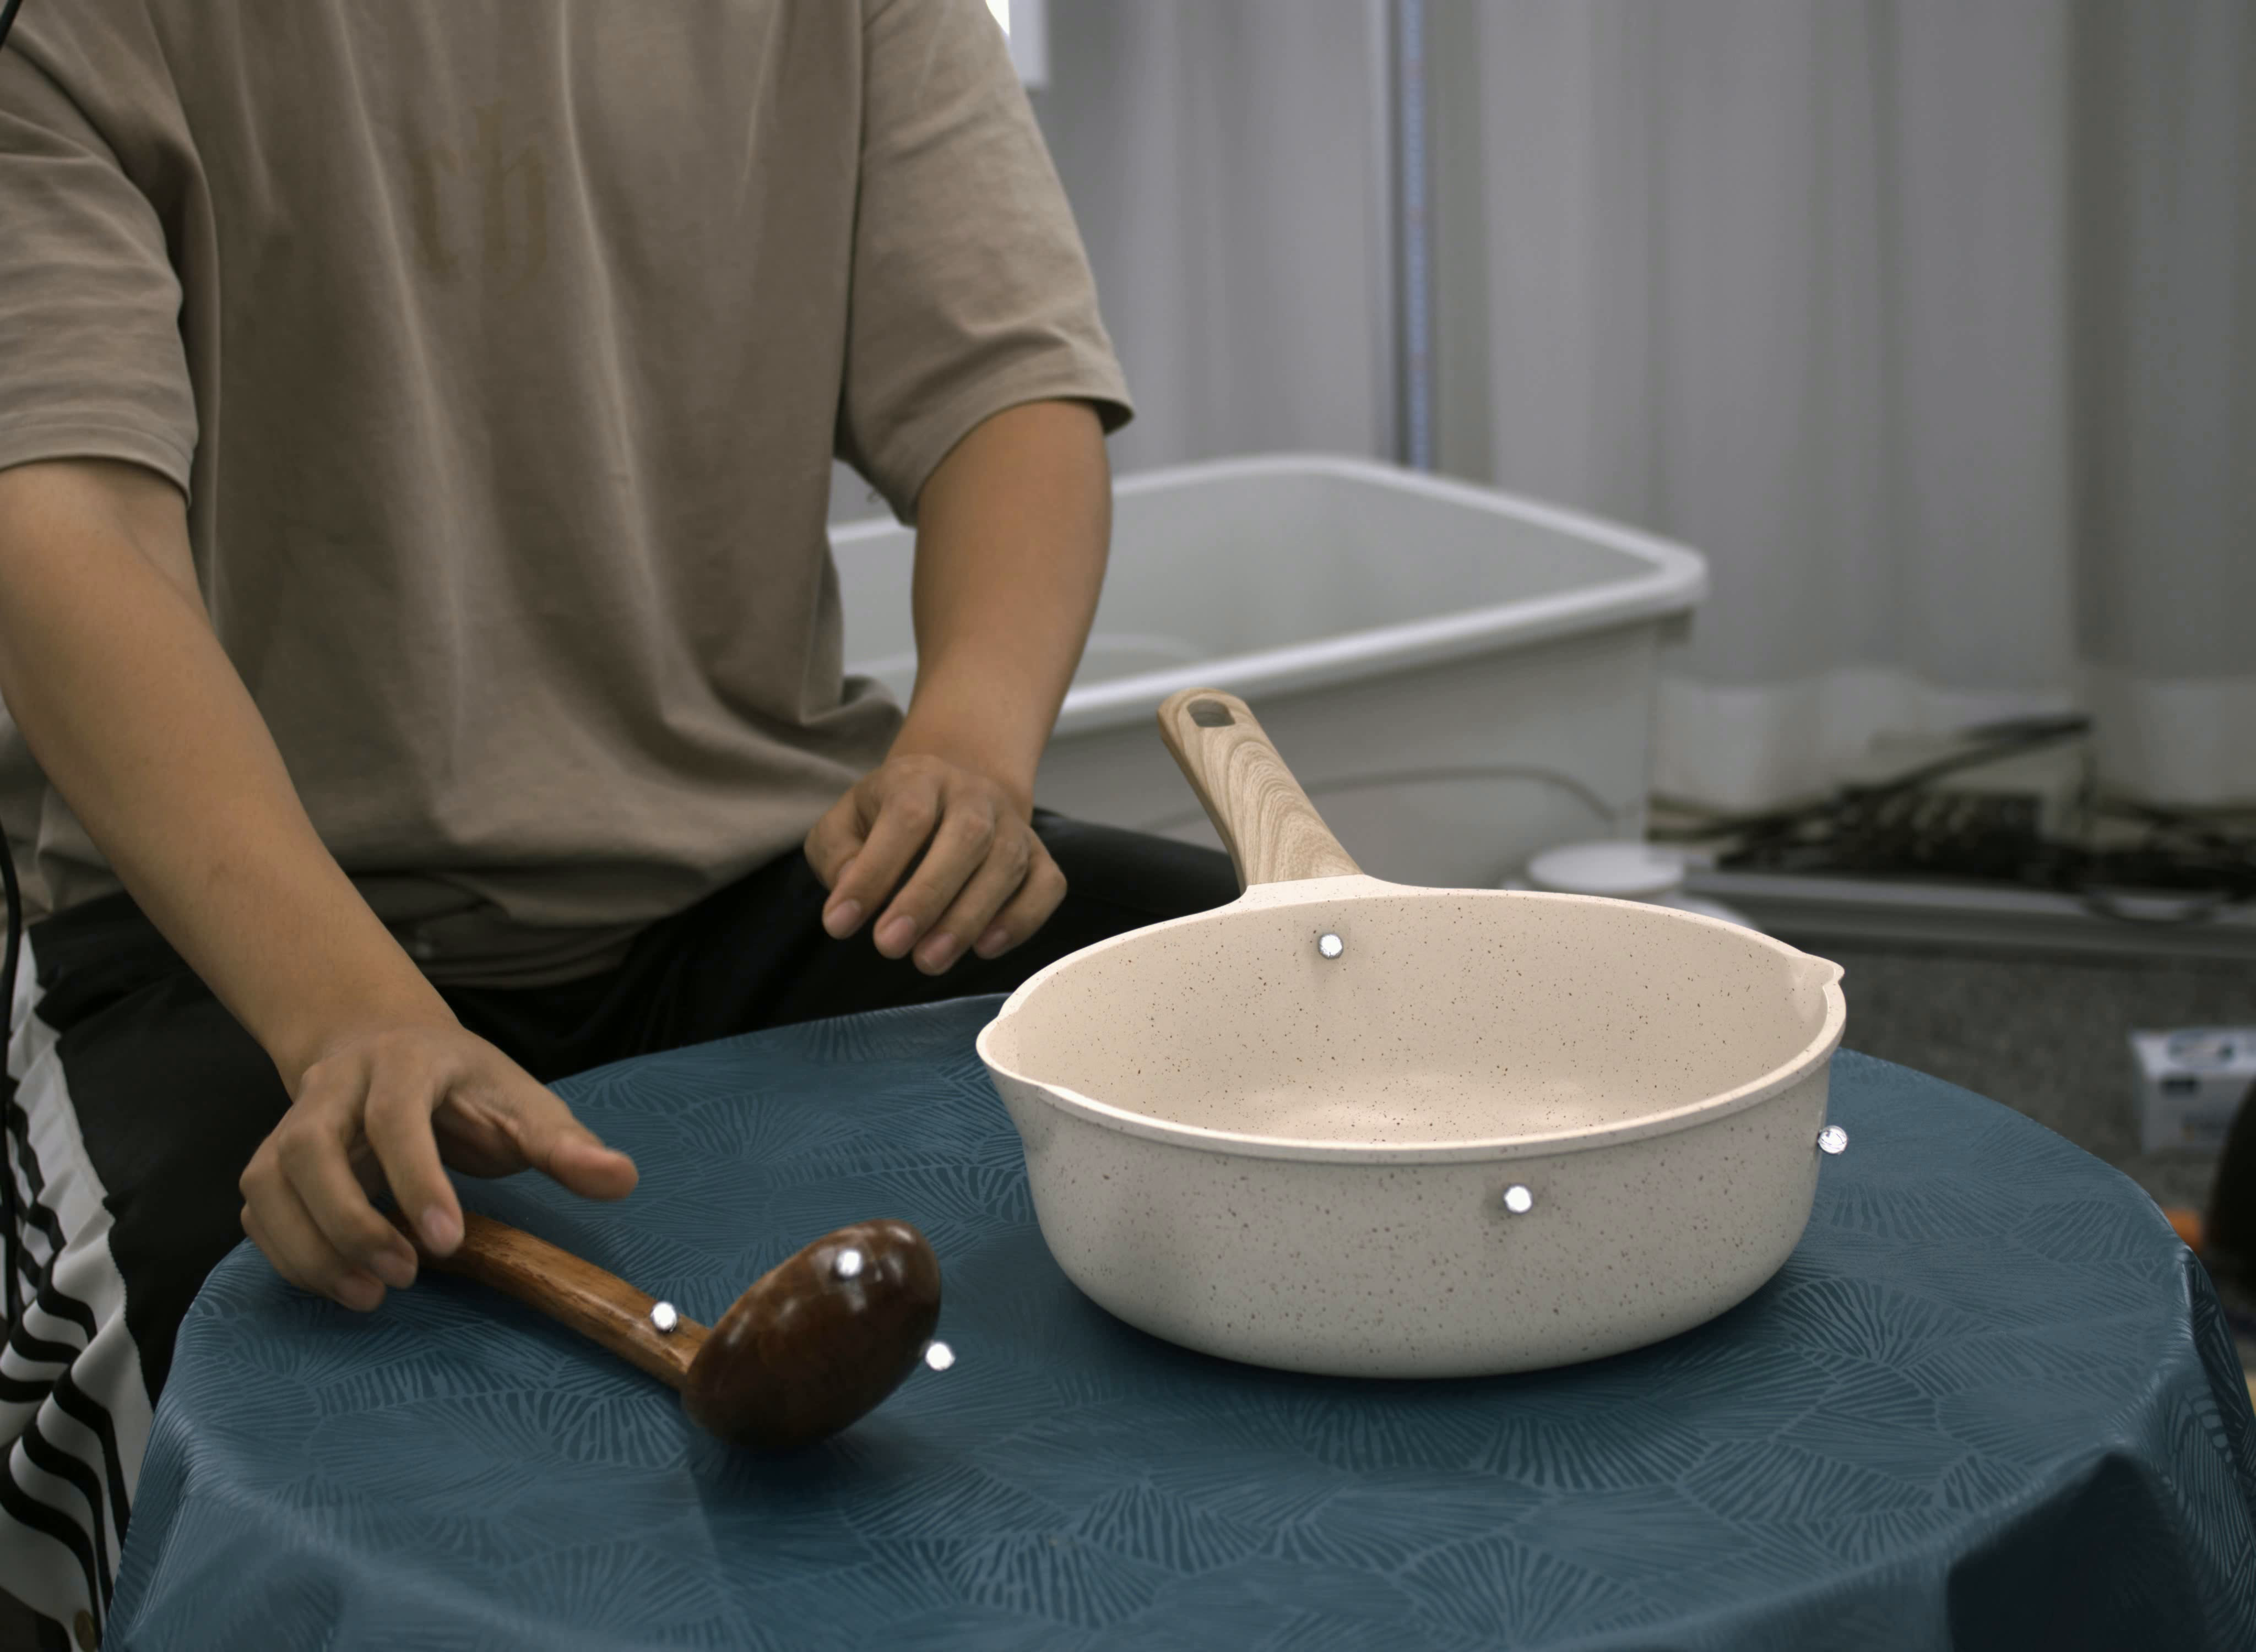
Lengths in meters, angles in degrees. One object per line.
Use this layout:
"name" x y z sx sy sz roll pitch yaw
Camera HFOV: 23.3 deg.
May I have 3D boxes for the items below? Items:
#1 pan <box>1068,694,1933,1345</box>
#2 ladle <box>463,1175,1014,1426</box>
"pan" 0.094 0.055 1.713 0.262 0.101 0.438 -7 15 -10
"ladle" -0.127 0.113 1.576 0.082 0.076 0.276 -17 21 -31
